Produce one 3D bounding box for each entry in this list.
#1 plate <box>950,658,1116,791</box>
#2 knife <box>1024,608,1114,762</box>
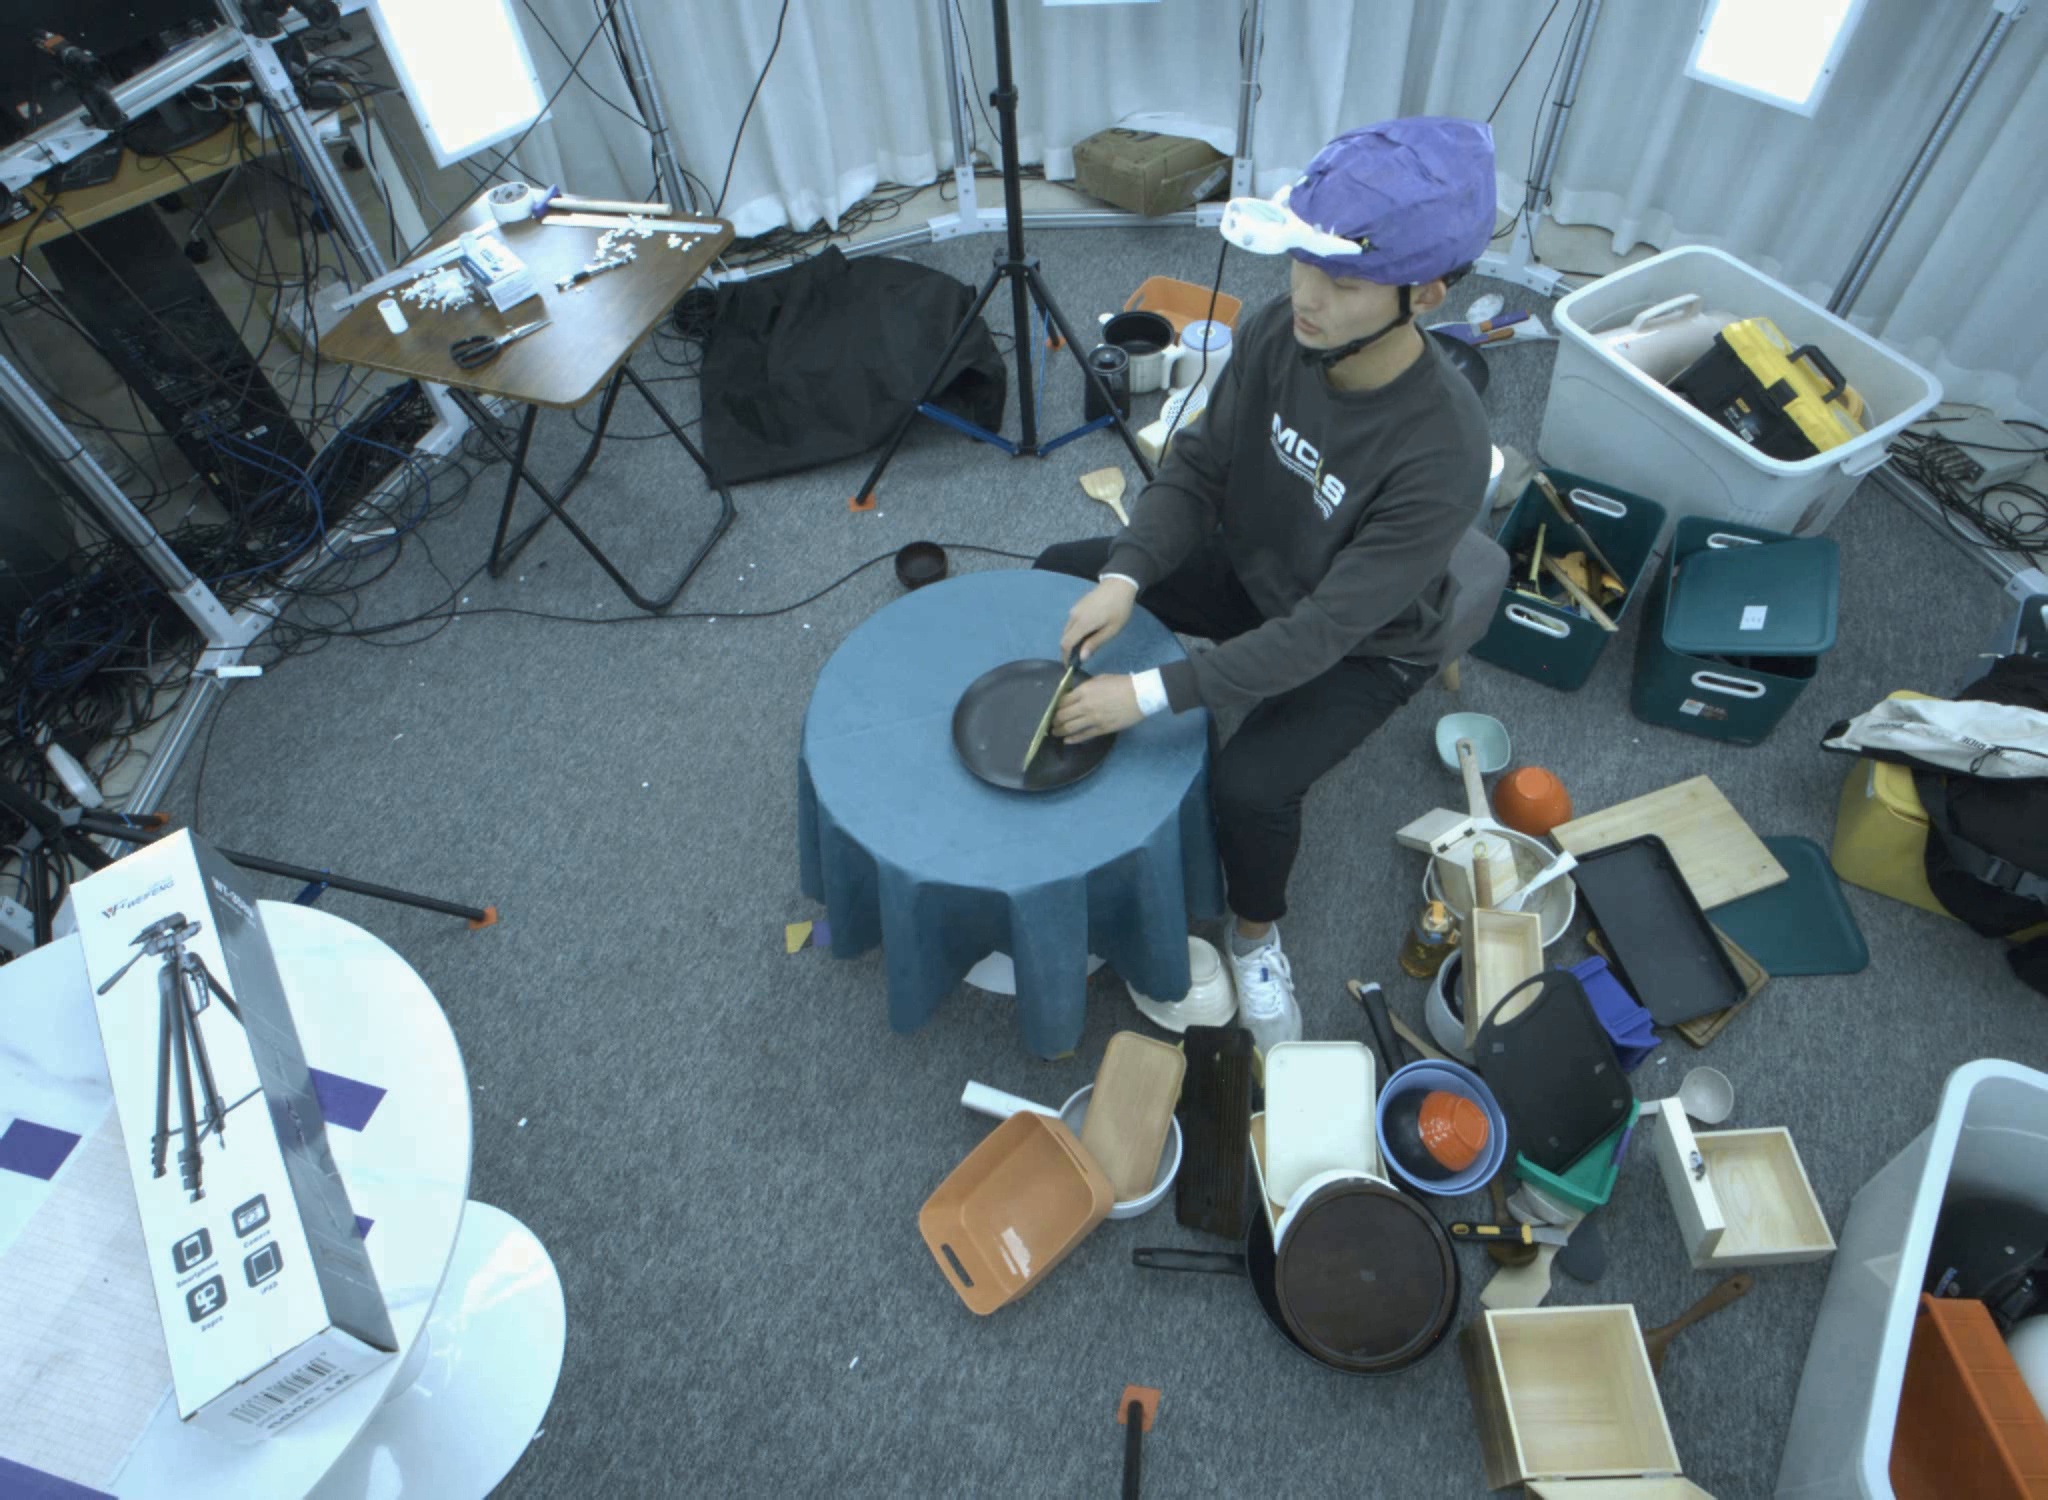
[{"bbox_3d":[0.014,-0.036,1.806,0.244,0.023,0.242,0,55,1],"label":"plate"},{"bbox_3d":[0.063,-0.096,1.802,0.027,0.081,0.290,26,63,7],"label":"knife"}]
